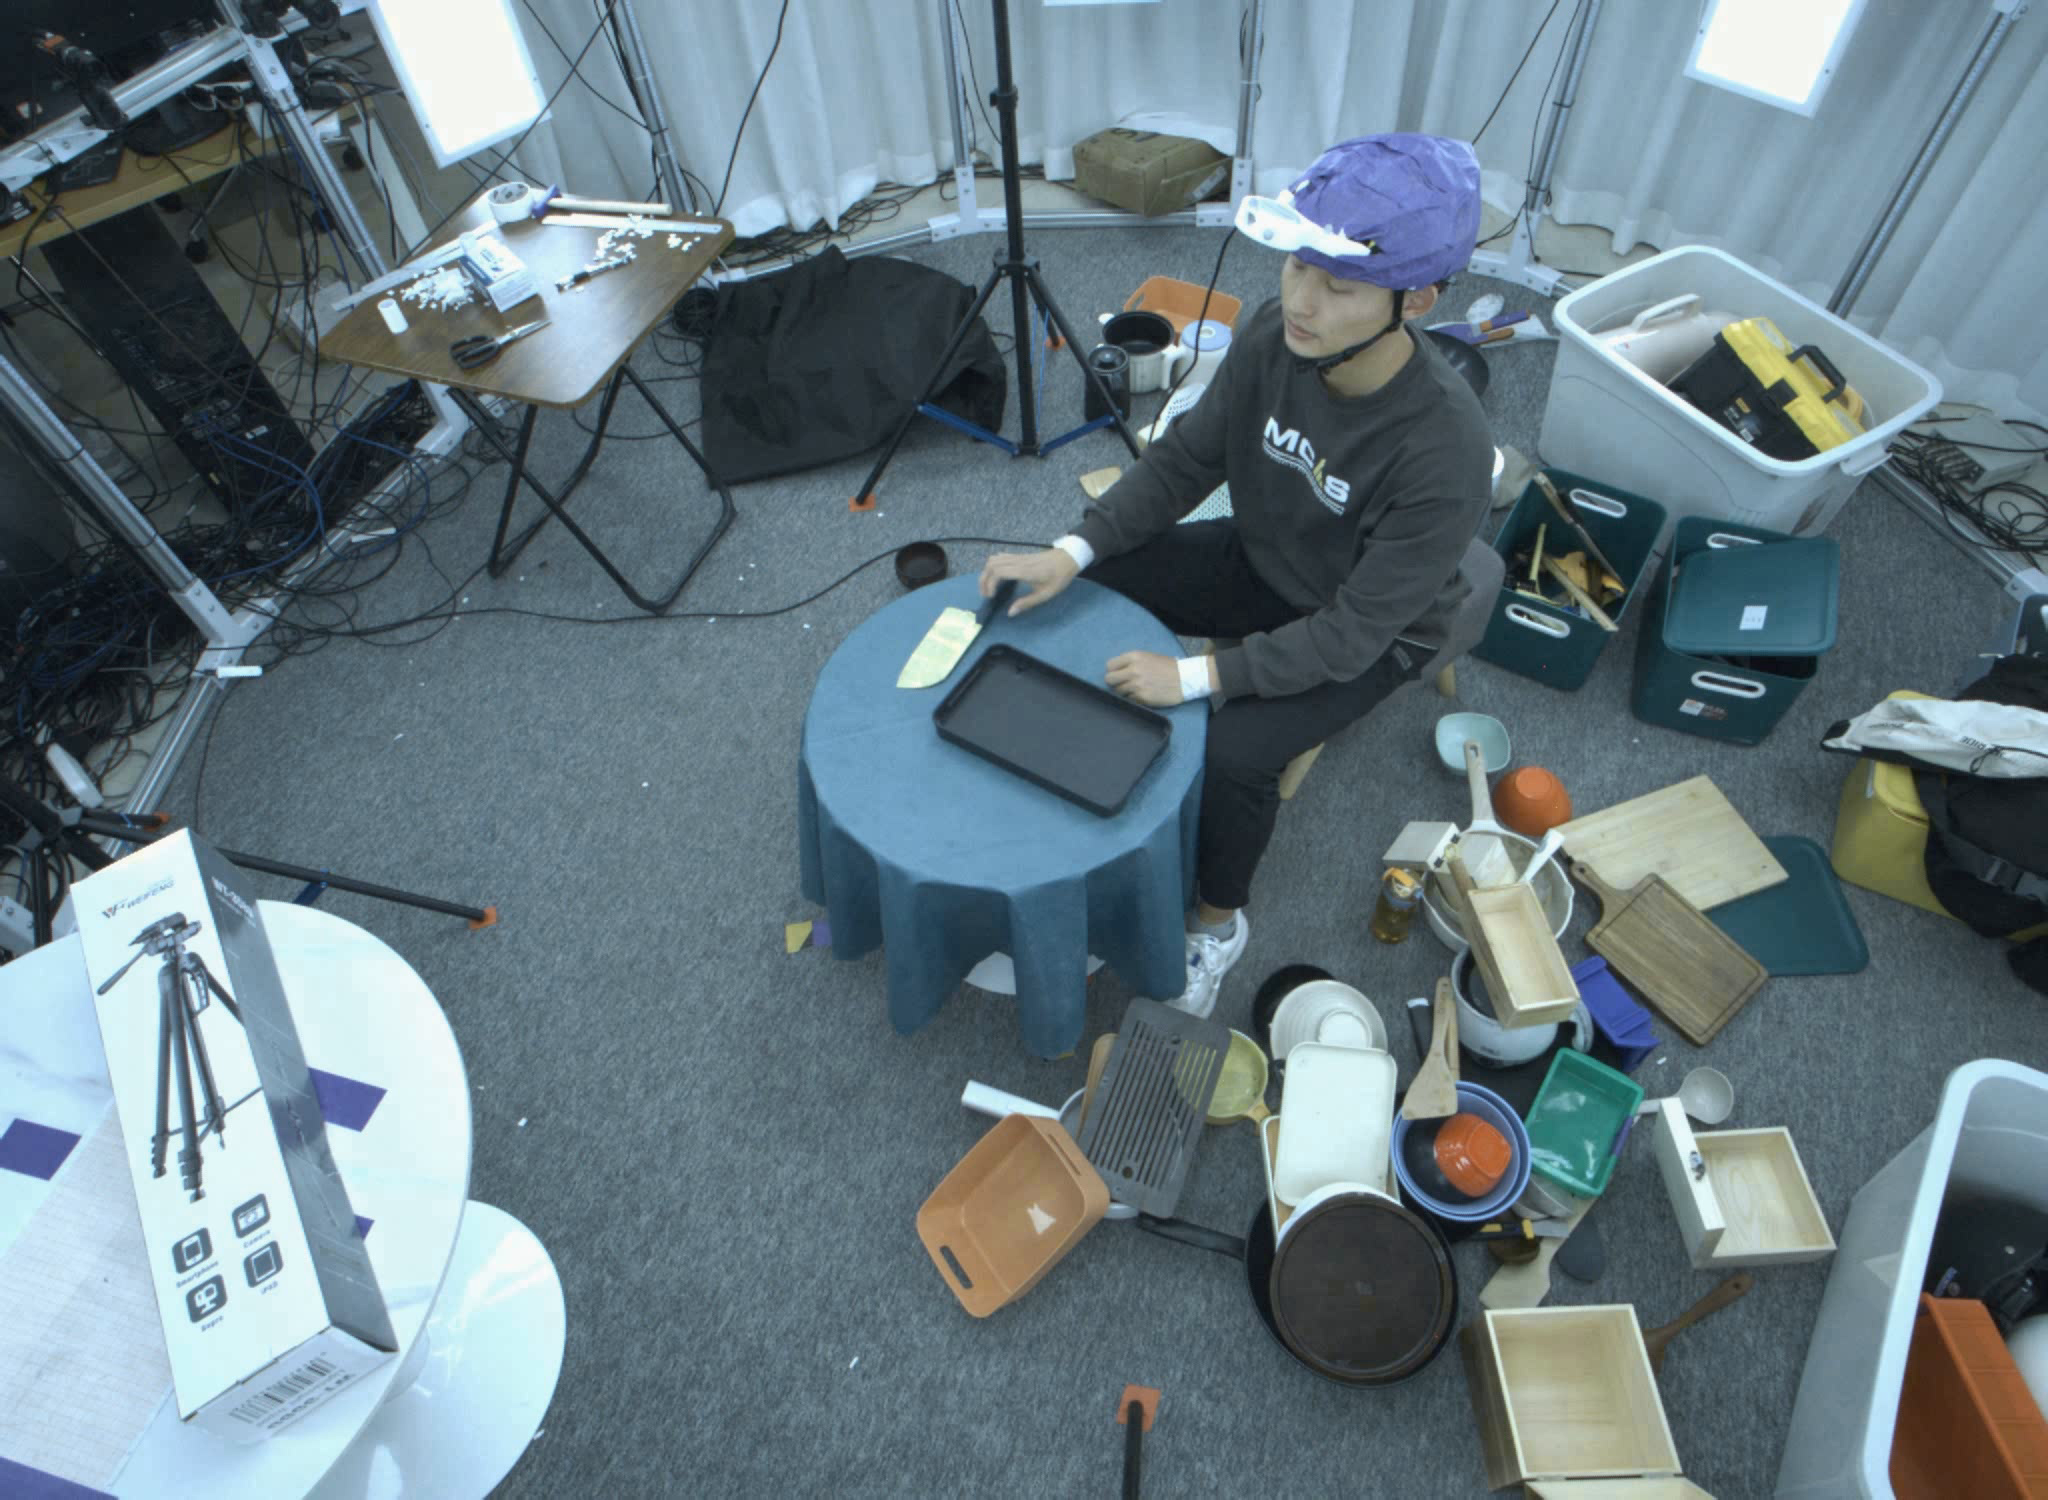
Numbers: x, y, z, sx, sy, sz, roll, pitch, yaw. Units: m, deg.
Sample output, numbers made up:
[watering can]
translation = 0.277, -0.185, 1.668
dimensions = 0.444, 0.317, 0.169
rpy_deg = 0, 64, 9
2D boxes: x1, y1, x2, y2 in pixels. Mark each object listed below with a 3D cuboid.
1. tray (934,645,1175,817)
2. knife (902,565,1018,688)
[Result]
[tray]
translation = 0.044, -0.032, 1.795
dimensions = 0.313, 0.037, 0.185
rpy_deg = 25, 58, 18
[knife]
translation = -0.100, -0.197, 1.930
dimensions = 0.080, 0.027, 0.290
rpy_deg = 27, 60, 18
